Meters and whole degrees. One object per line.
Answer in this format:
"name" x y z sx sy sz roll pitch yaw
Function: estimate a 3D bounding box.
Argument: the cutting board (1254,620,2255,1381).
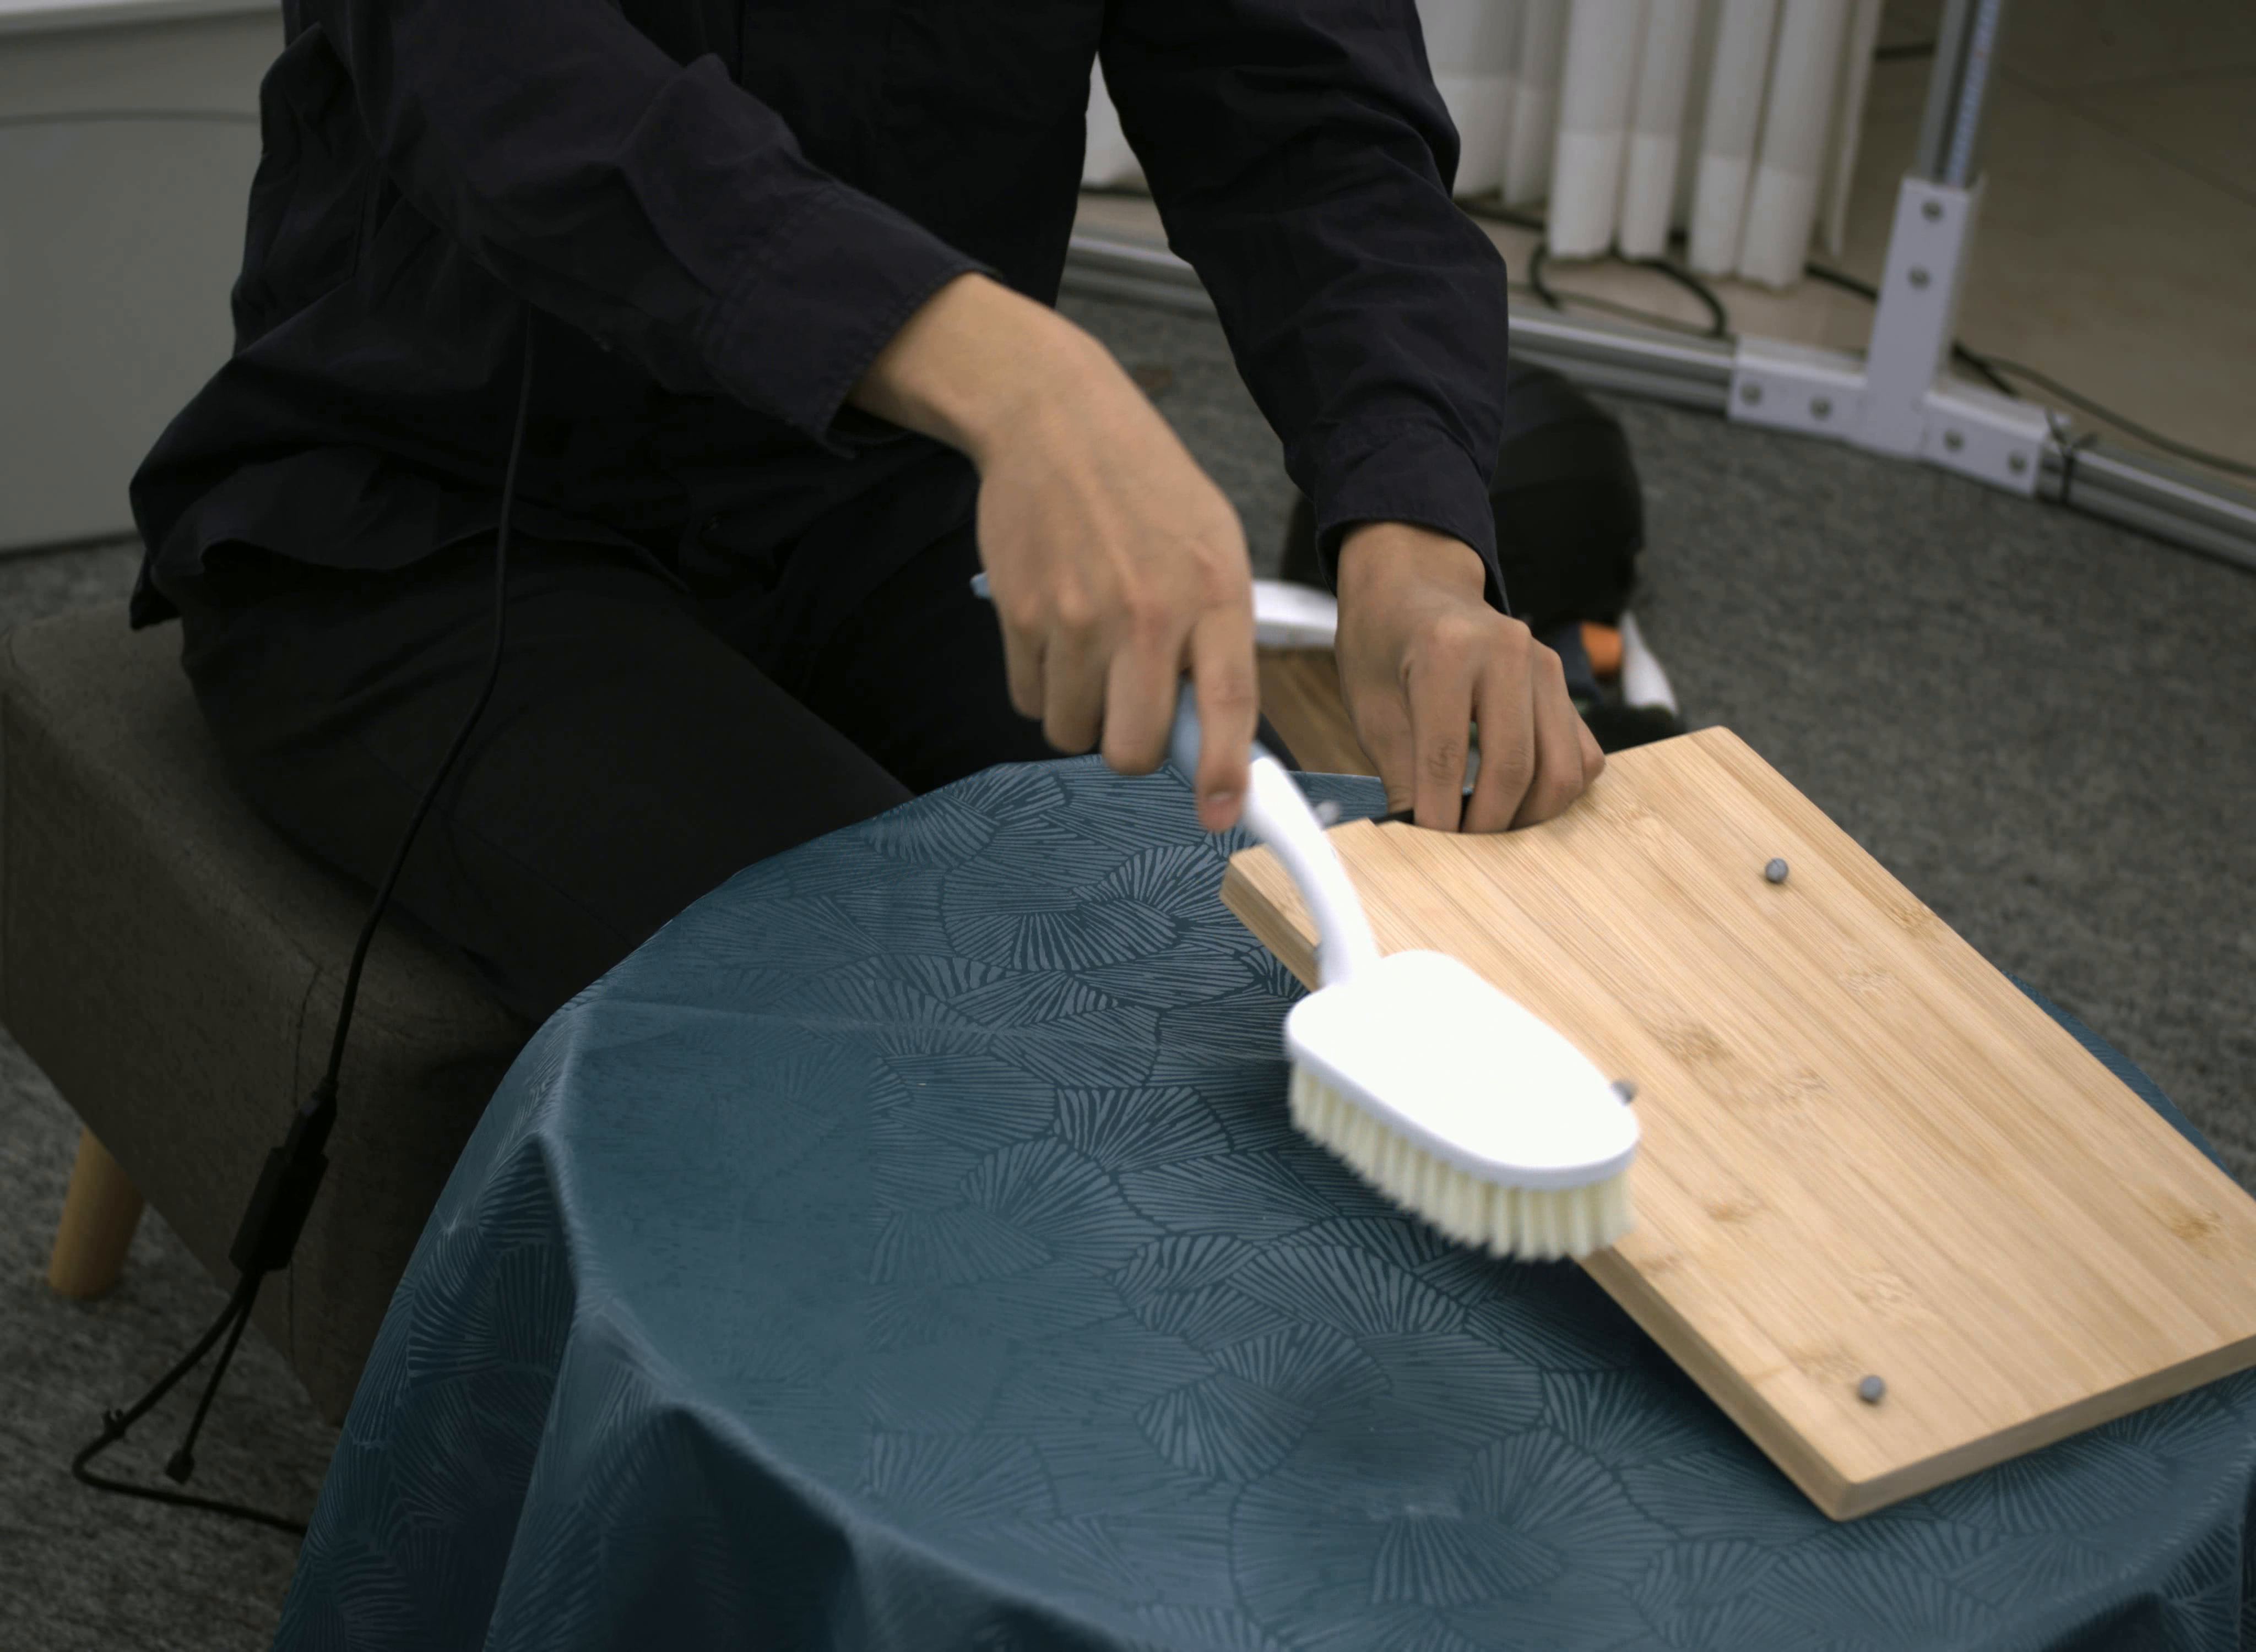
"cutting board" 0.237 0.052 1.855 0.249 0.023 0.352 -15 44 -36

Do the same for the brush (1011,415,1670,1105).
"brush" 0.065 -0.015 1.750 0.328 0.084 0.082 45 16 31
